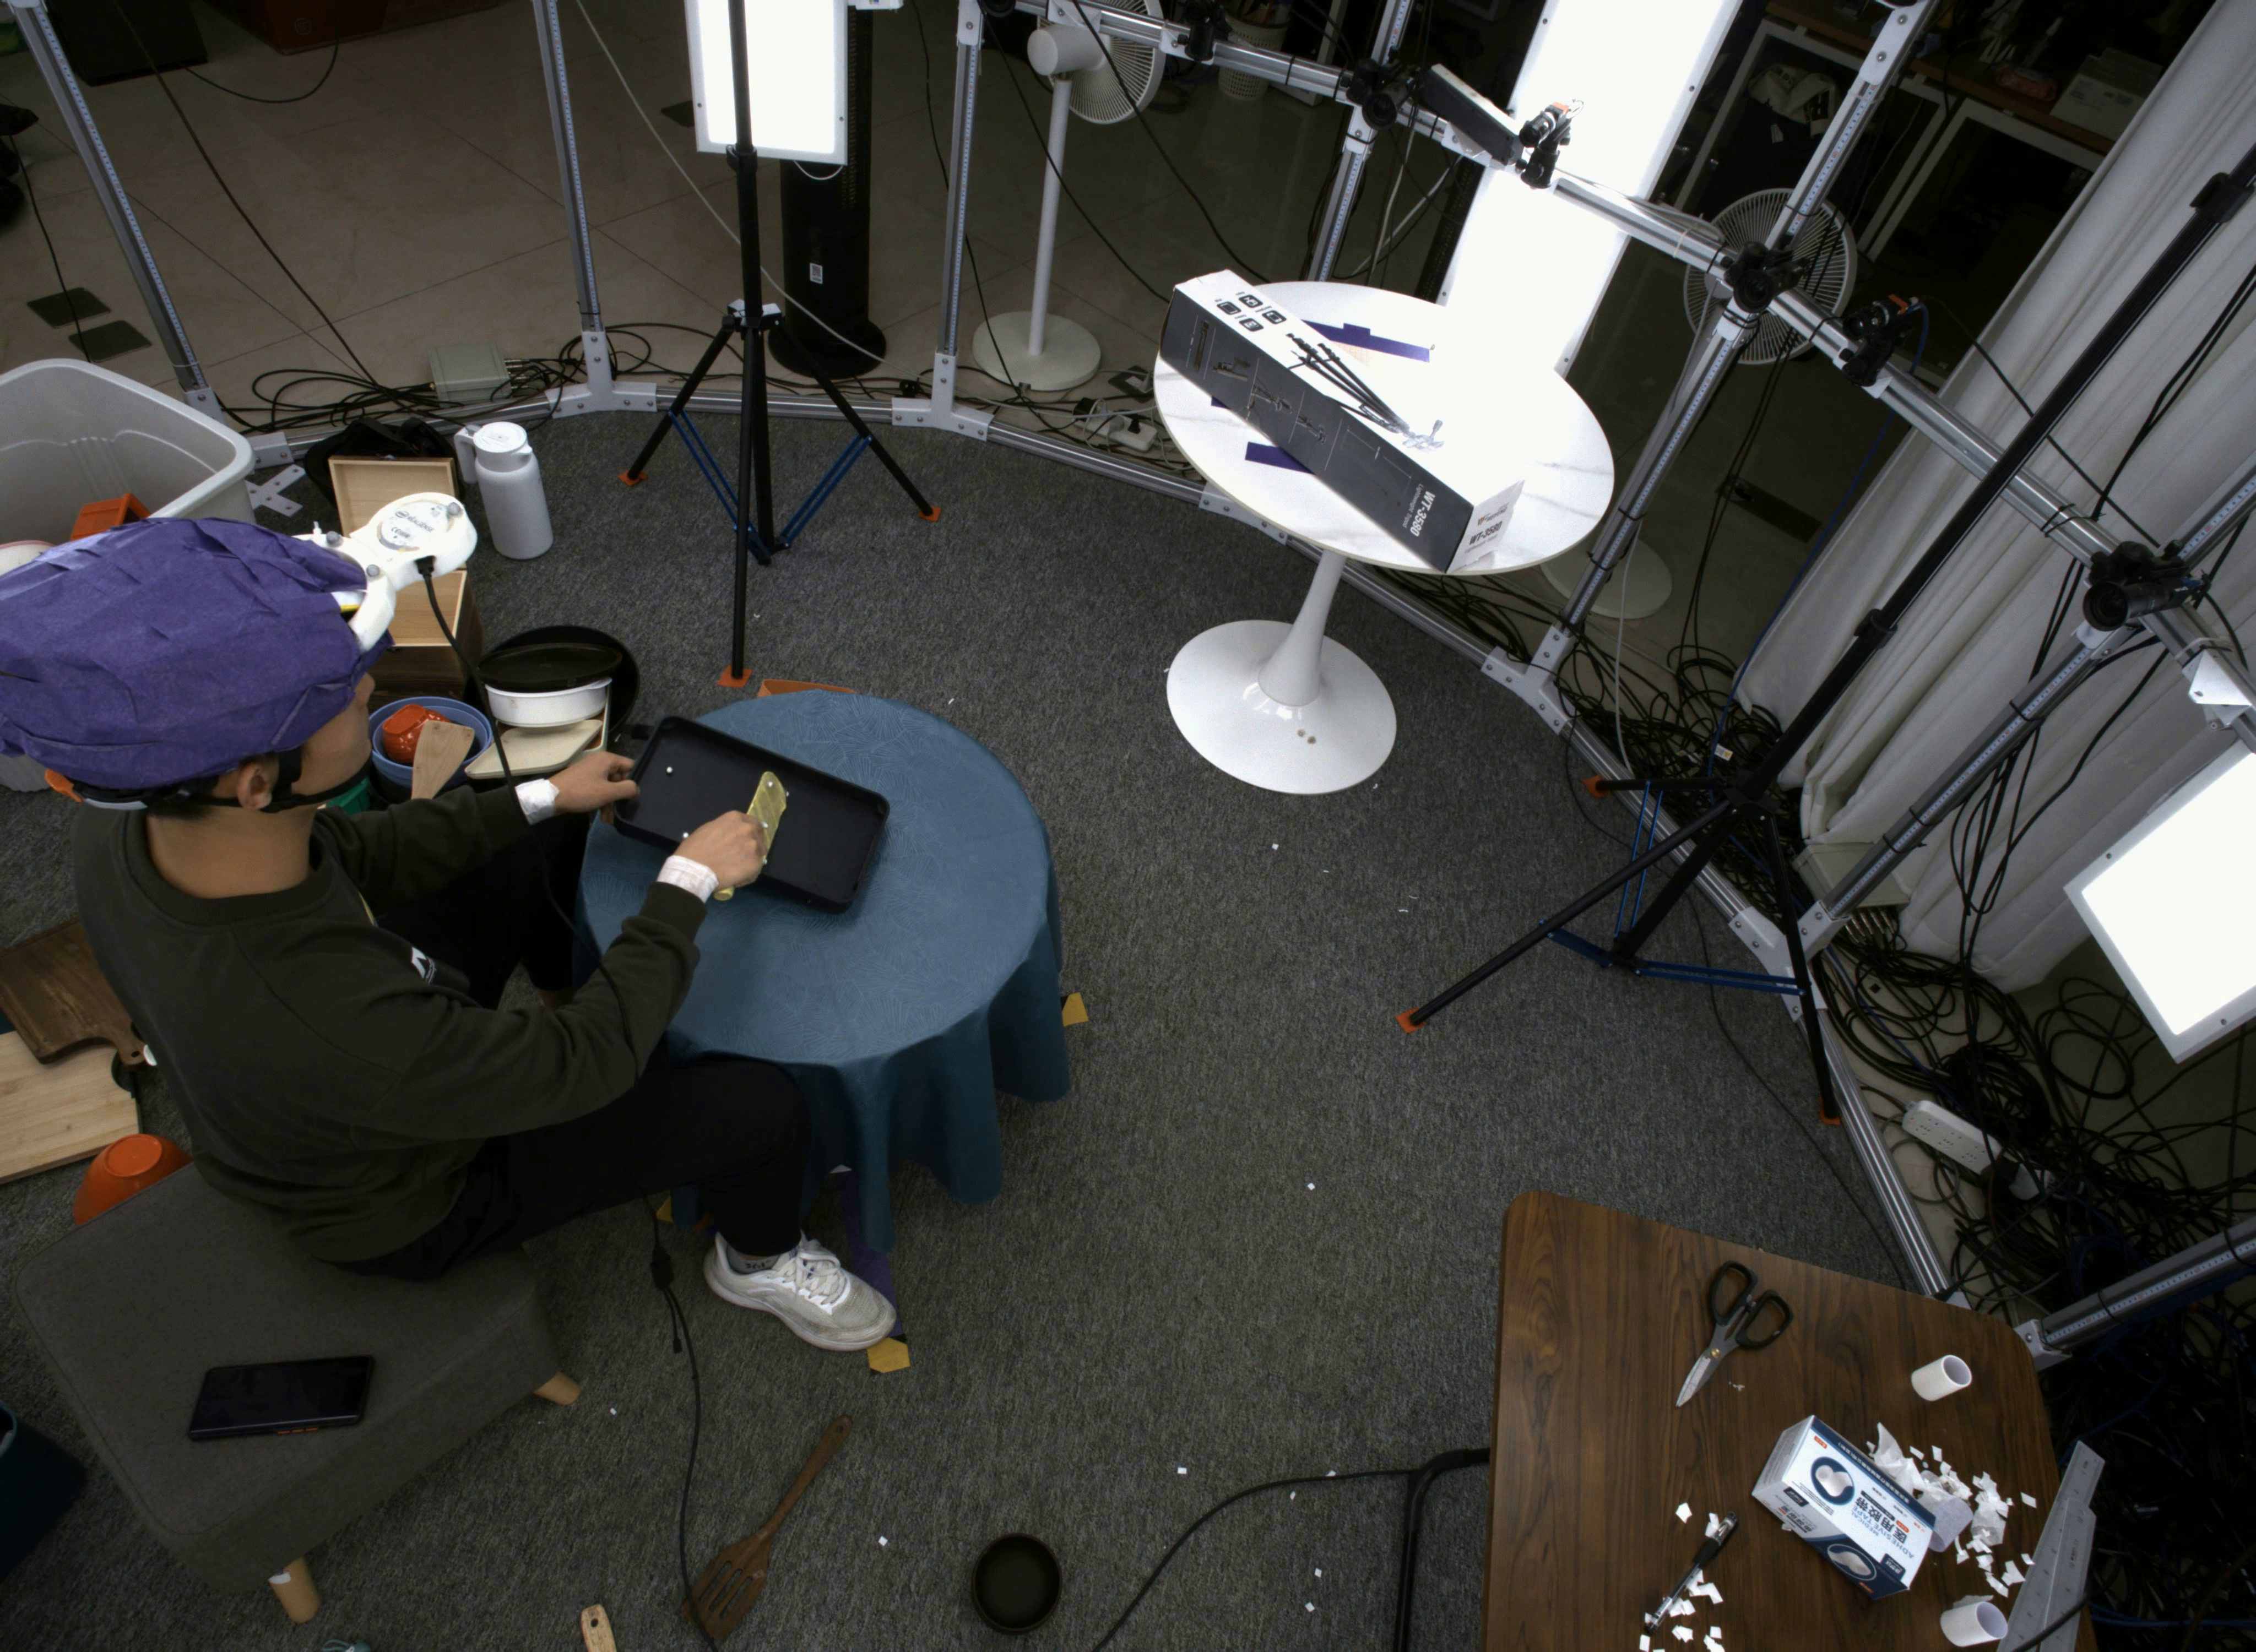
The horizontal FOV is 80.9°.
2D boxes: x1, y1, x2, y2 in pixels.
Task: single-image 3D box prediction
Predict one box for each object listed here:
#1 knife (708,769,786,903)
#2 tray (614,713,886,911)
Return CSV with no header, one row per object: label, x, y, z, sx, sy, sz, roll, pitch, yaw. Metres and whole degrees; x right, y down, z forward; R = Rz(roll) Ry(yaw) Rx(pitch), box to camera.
knife,-0.458,0.014,1.581,0.027,0.084,0.284,-8,30,7
tray,-0.484,-0.019,1.666,0.321,0.037,0.182,21,53,-15
